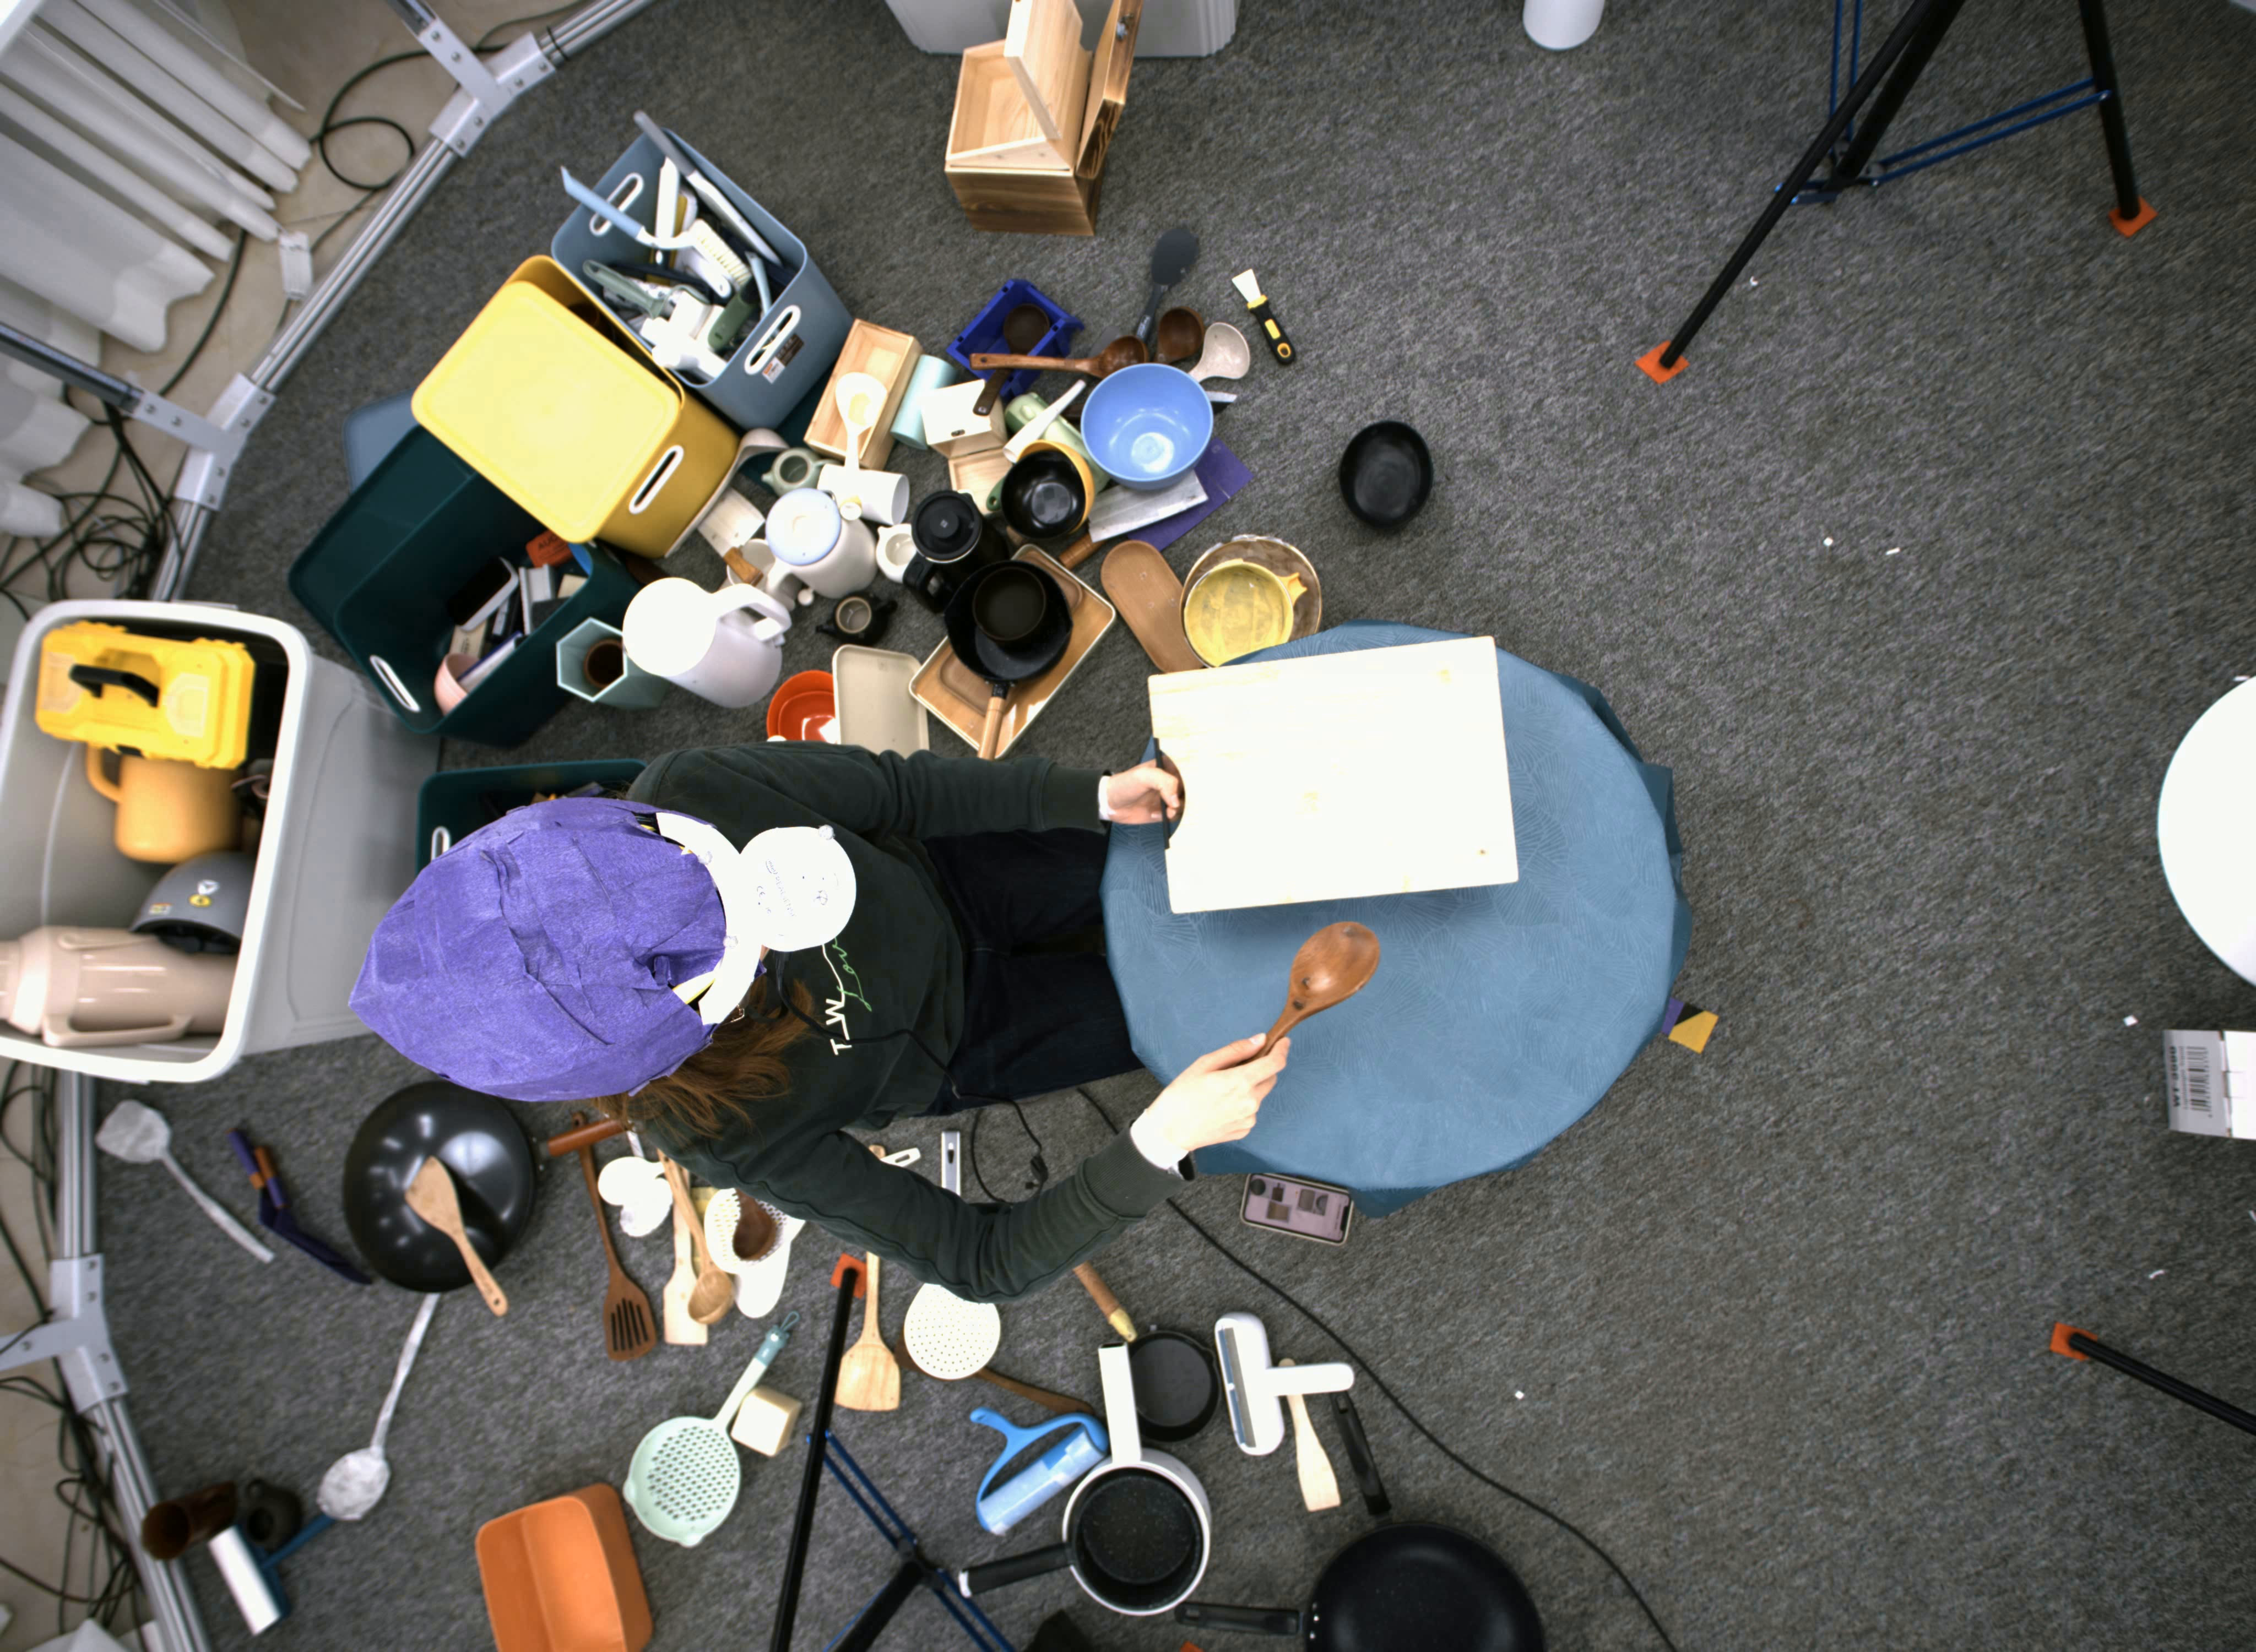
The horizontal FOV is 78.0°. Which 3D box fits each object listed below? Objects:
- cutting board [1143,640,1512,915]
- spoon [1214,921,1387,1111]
[{"bbox_3d":[0.198,-0.047,1.366,0.350,0.023,0.250,-7,90,9],"label":"cutting board"},{"bbox_3d":[0.149,0.167,1.223,0.075,0.017,0.213,32,71,36],"label":"spoon"}]
